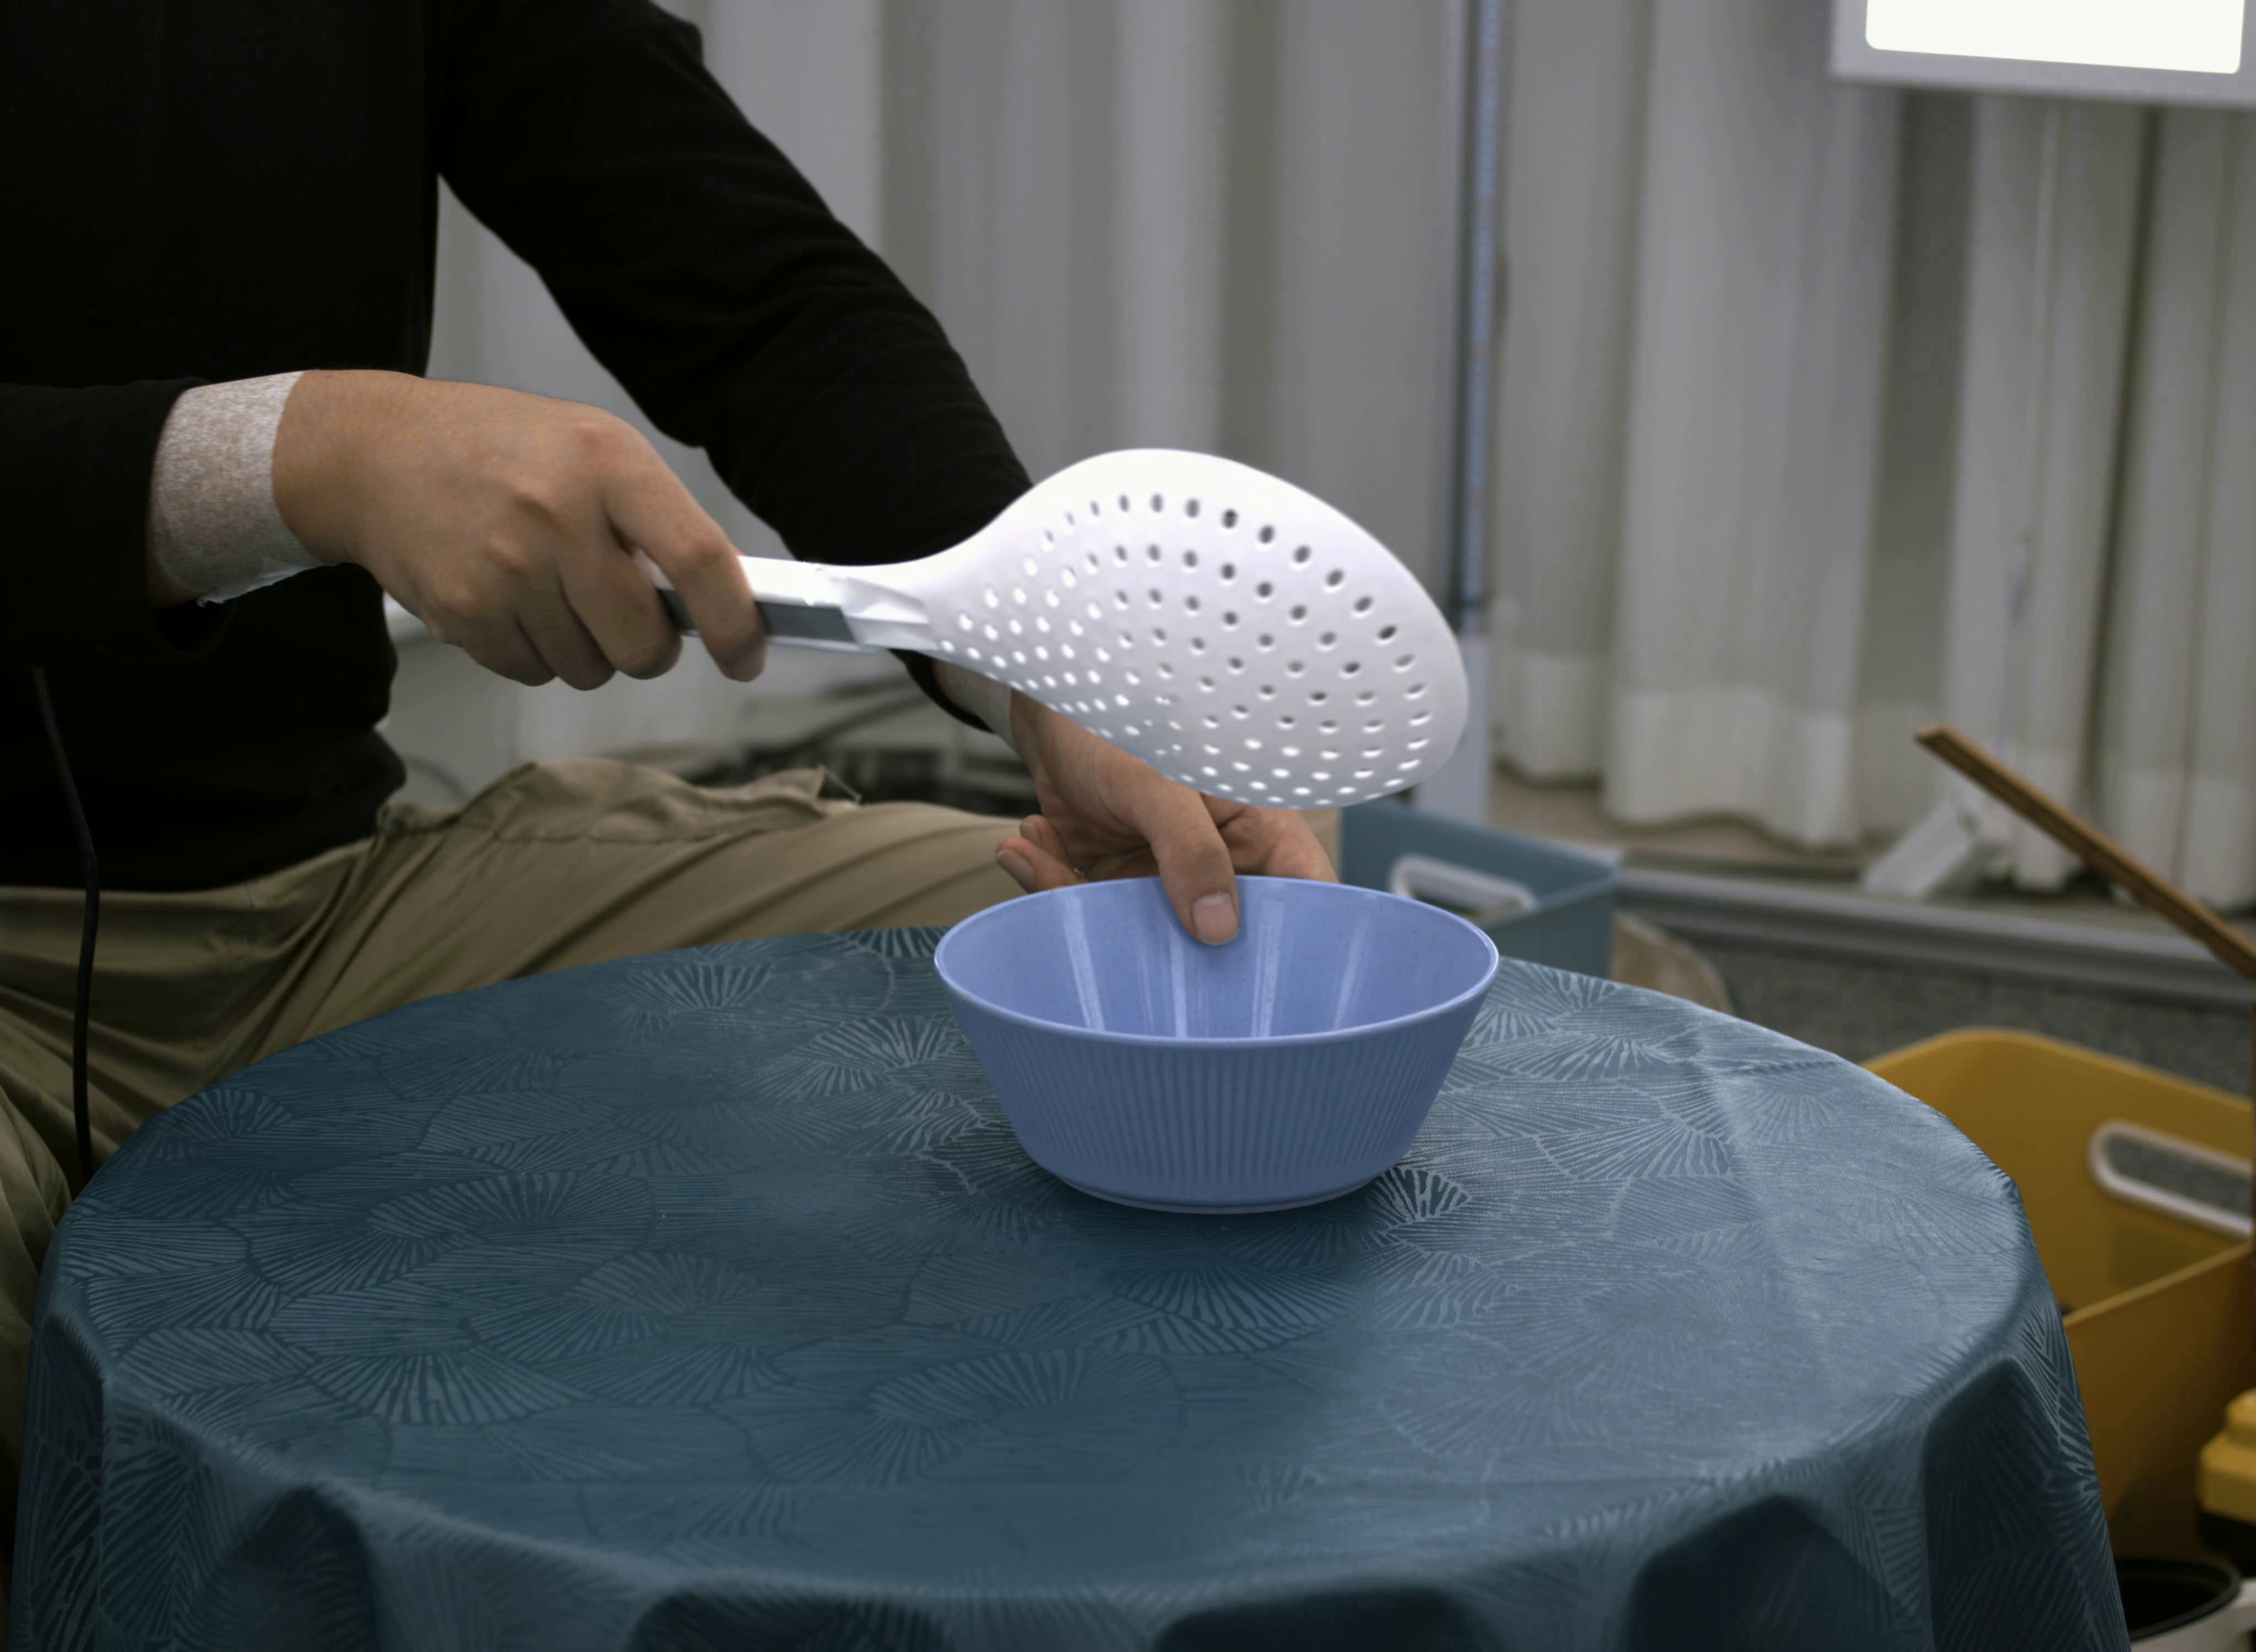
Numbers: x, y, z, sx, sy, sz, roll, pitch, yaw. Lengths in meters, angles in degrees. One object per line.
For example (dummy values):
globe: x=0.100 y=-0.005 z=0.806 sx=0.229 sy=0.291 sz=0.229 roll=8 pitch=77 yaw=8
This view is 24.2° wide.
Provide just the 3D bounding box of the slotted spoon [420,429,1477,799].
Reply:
slotted spoon: x=-0.061 y=-0.064 z=1.508 sx=0.345 sy=0.138 sz=0.045 roll=11 pitch=52 yaw=33

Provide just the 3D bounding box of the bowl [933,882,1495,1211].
bowl: x=0.027 y=0.070 z=1.642 sx=0.175 sy=0.071 sz=0.175 roll=0 pitch=15 yaw=1
